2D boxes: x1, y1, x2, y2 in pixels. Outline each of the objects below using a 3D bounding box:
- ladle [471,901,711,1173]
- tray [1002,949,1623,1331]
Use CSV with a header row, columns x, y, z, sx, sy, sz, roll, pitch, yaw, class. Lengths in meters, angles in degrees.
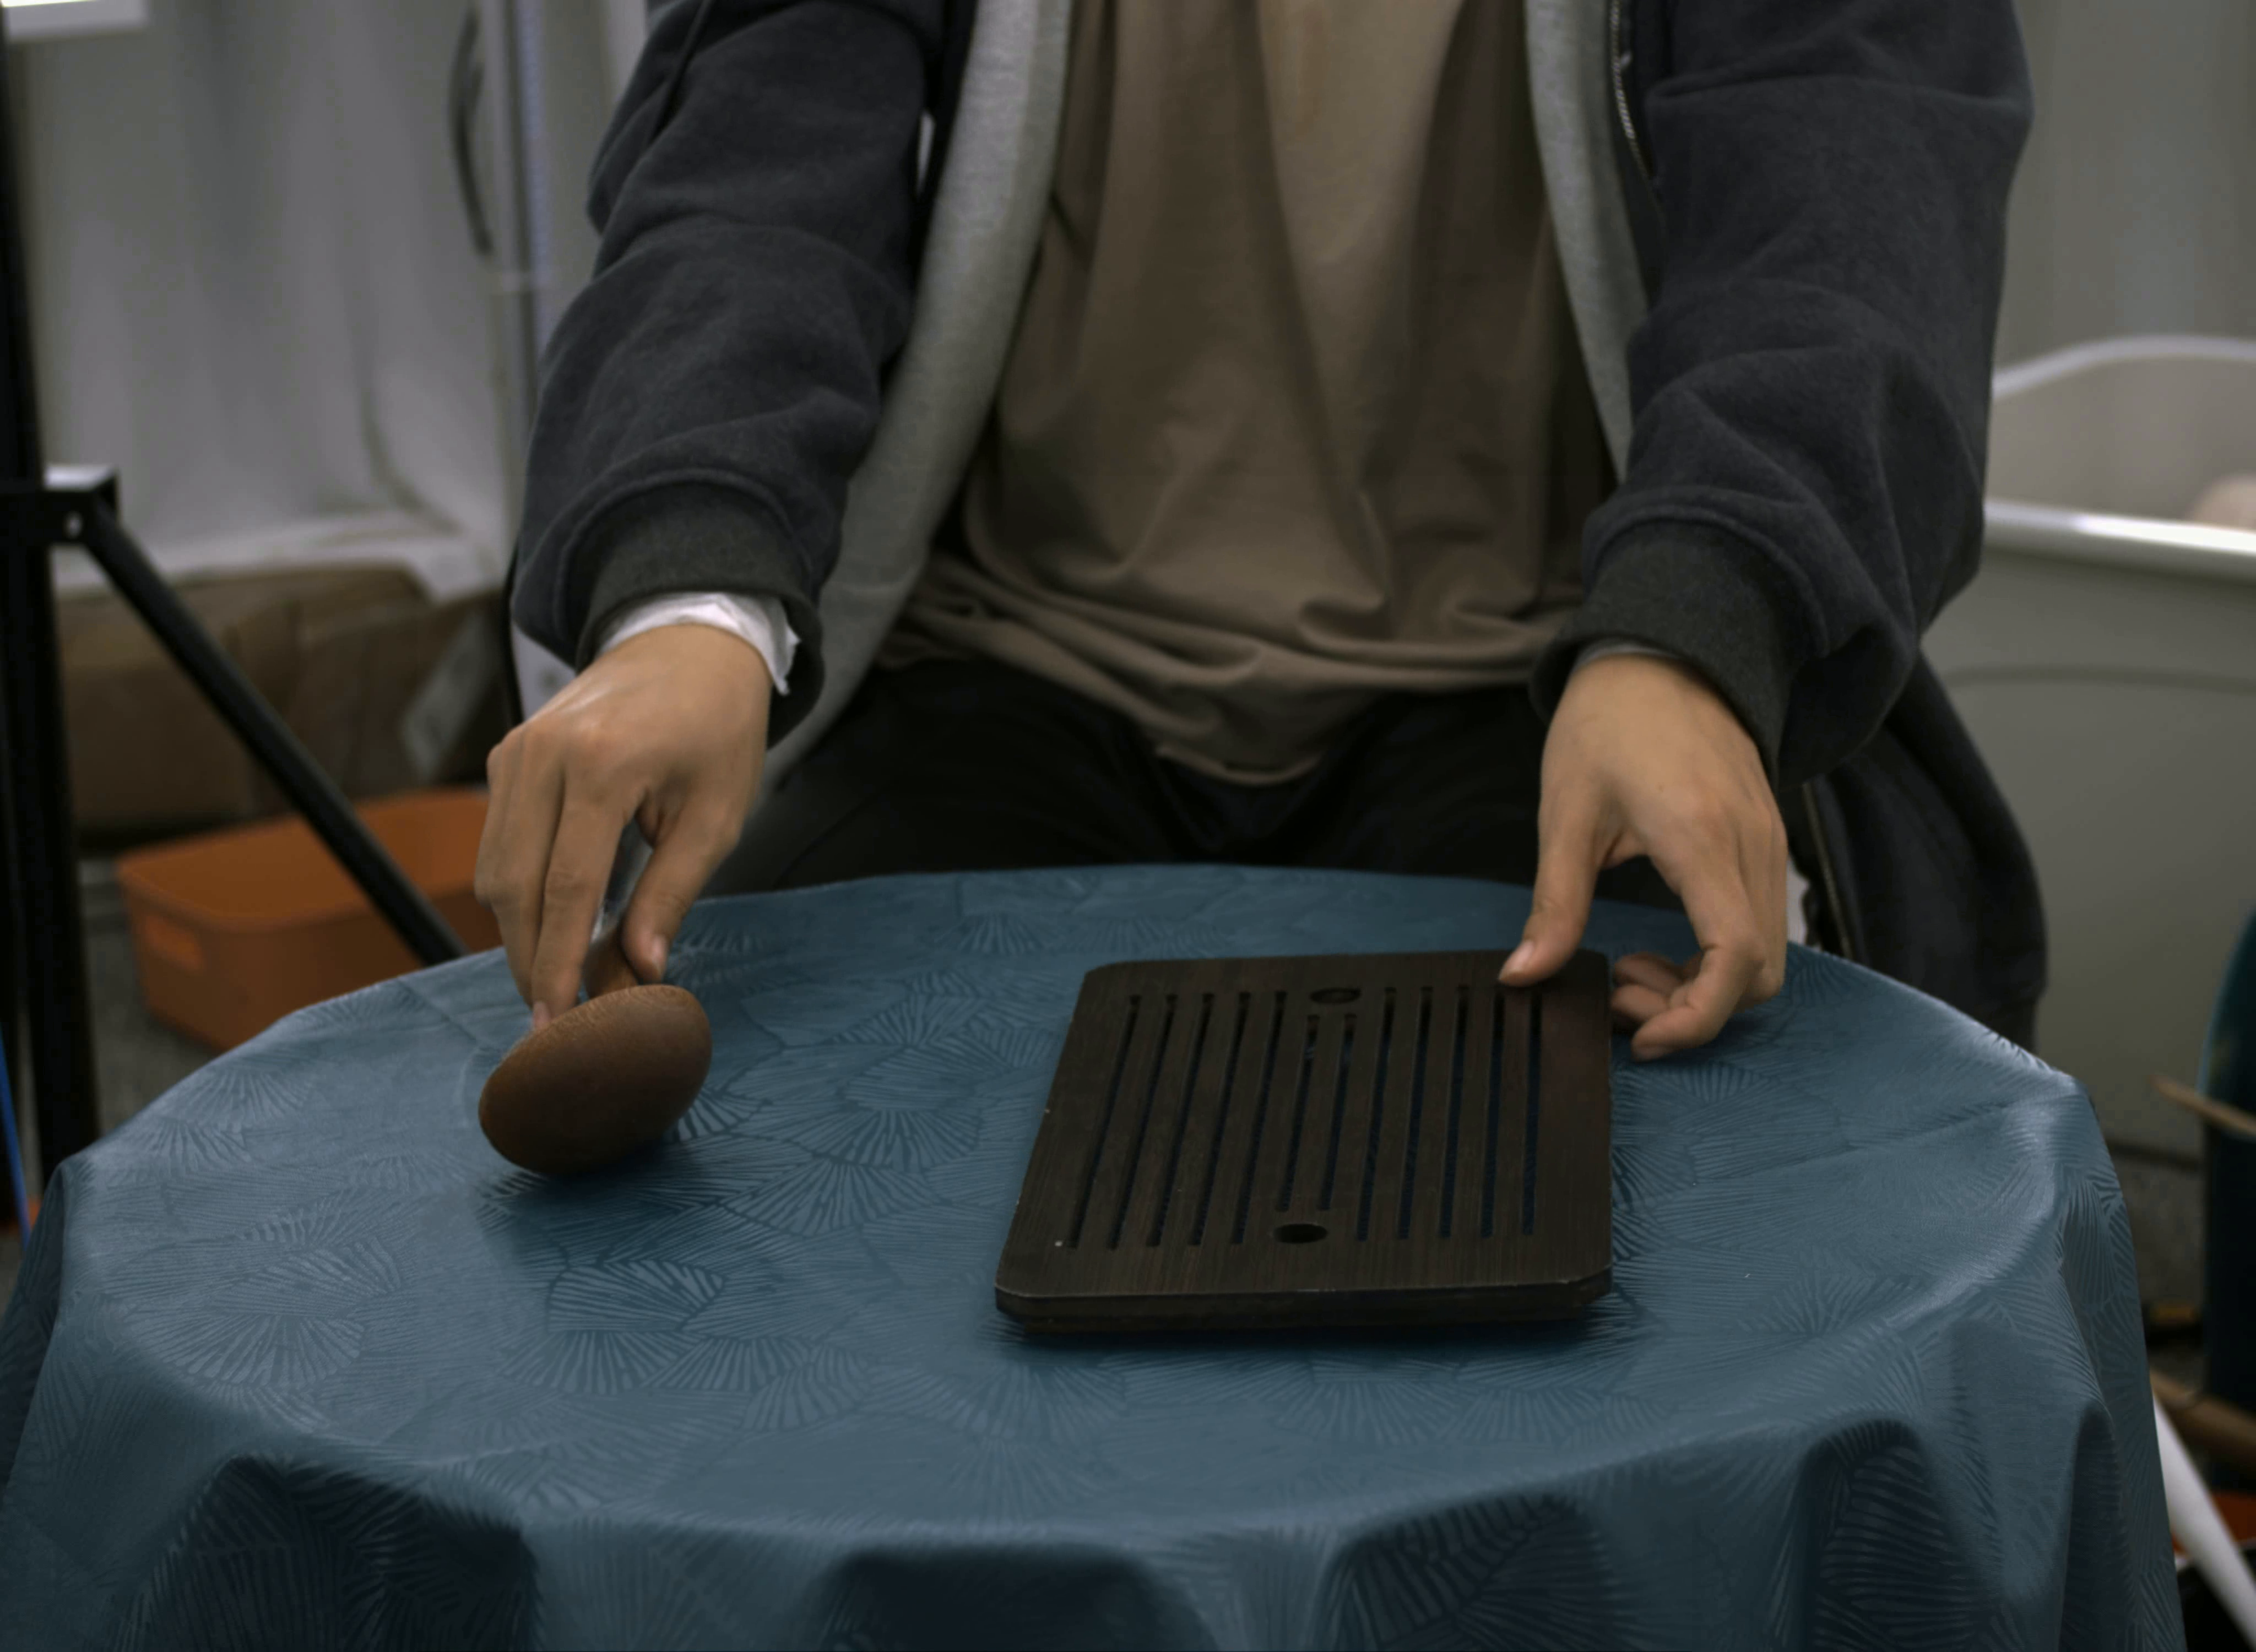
x,y,z,sx,sy,sz,roll,pitch,yaw,class
-0.169,0.049,1.683,0.076,0.064,0.262,-30,17,2,ladle
0.062,0.091,1.573,0.170,0.018,0.306,-2,16,6,tray
